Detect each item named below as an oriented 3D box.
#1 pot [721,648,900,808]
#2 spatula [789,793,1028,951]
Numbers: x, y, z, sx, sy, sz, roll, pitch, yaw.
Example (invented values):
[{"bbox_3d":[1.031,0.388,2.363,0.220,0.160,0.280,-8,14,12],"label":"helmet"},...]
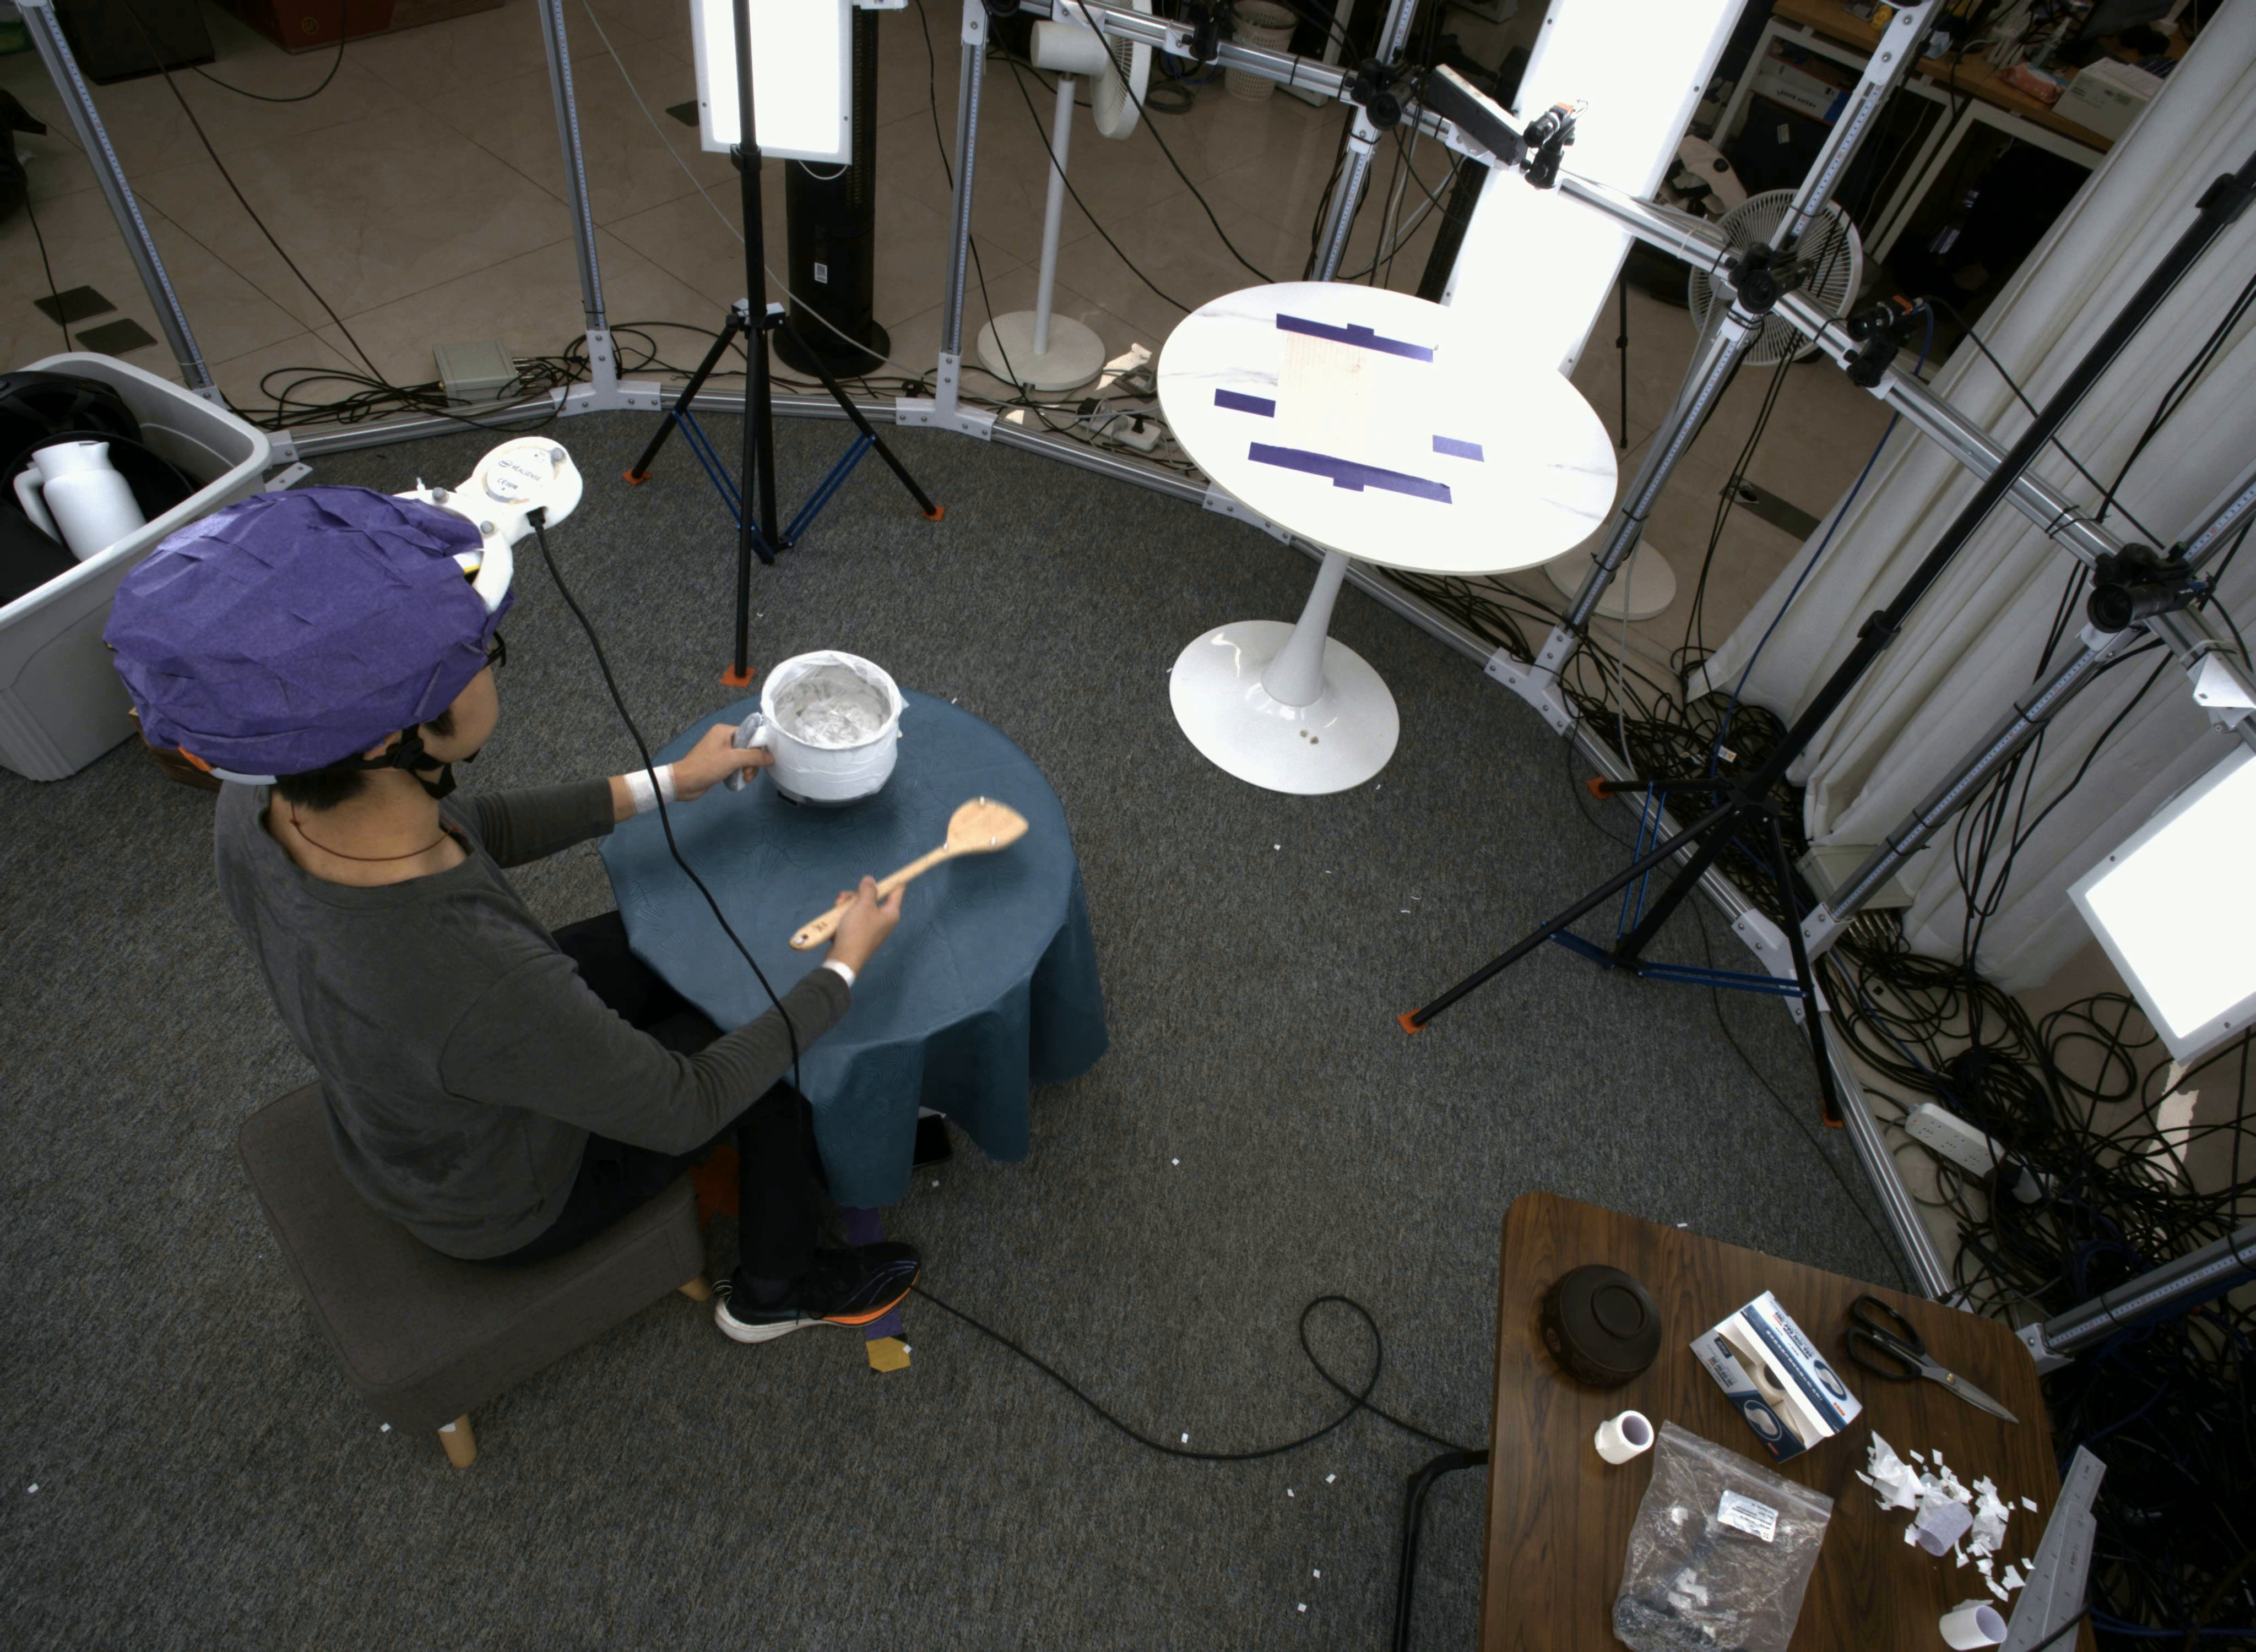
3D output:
[{"bbox_3d":[-0.417,-0.116,1.692,0.235,0.139,0.174,-20,59,-30],"label":"pot"},{"bbox_3d":[-0.269,0.053,1.608,0.093,0.019,0.392,26,38,23],"label":"spatula"}]
